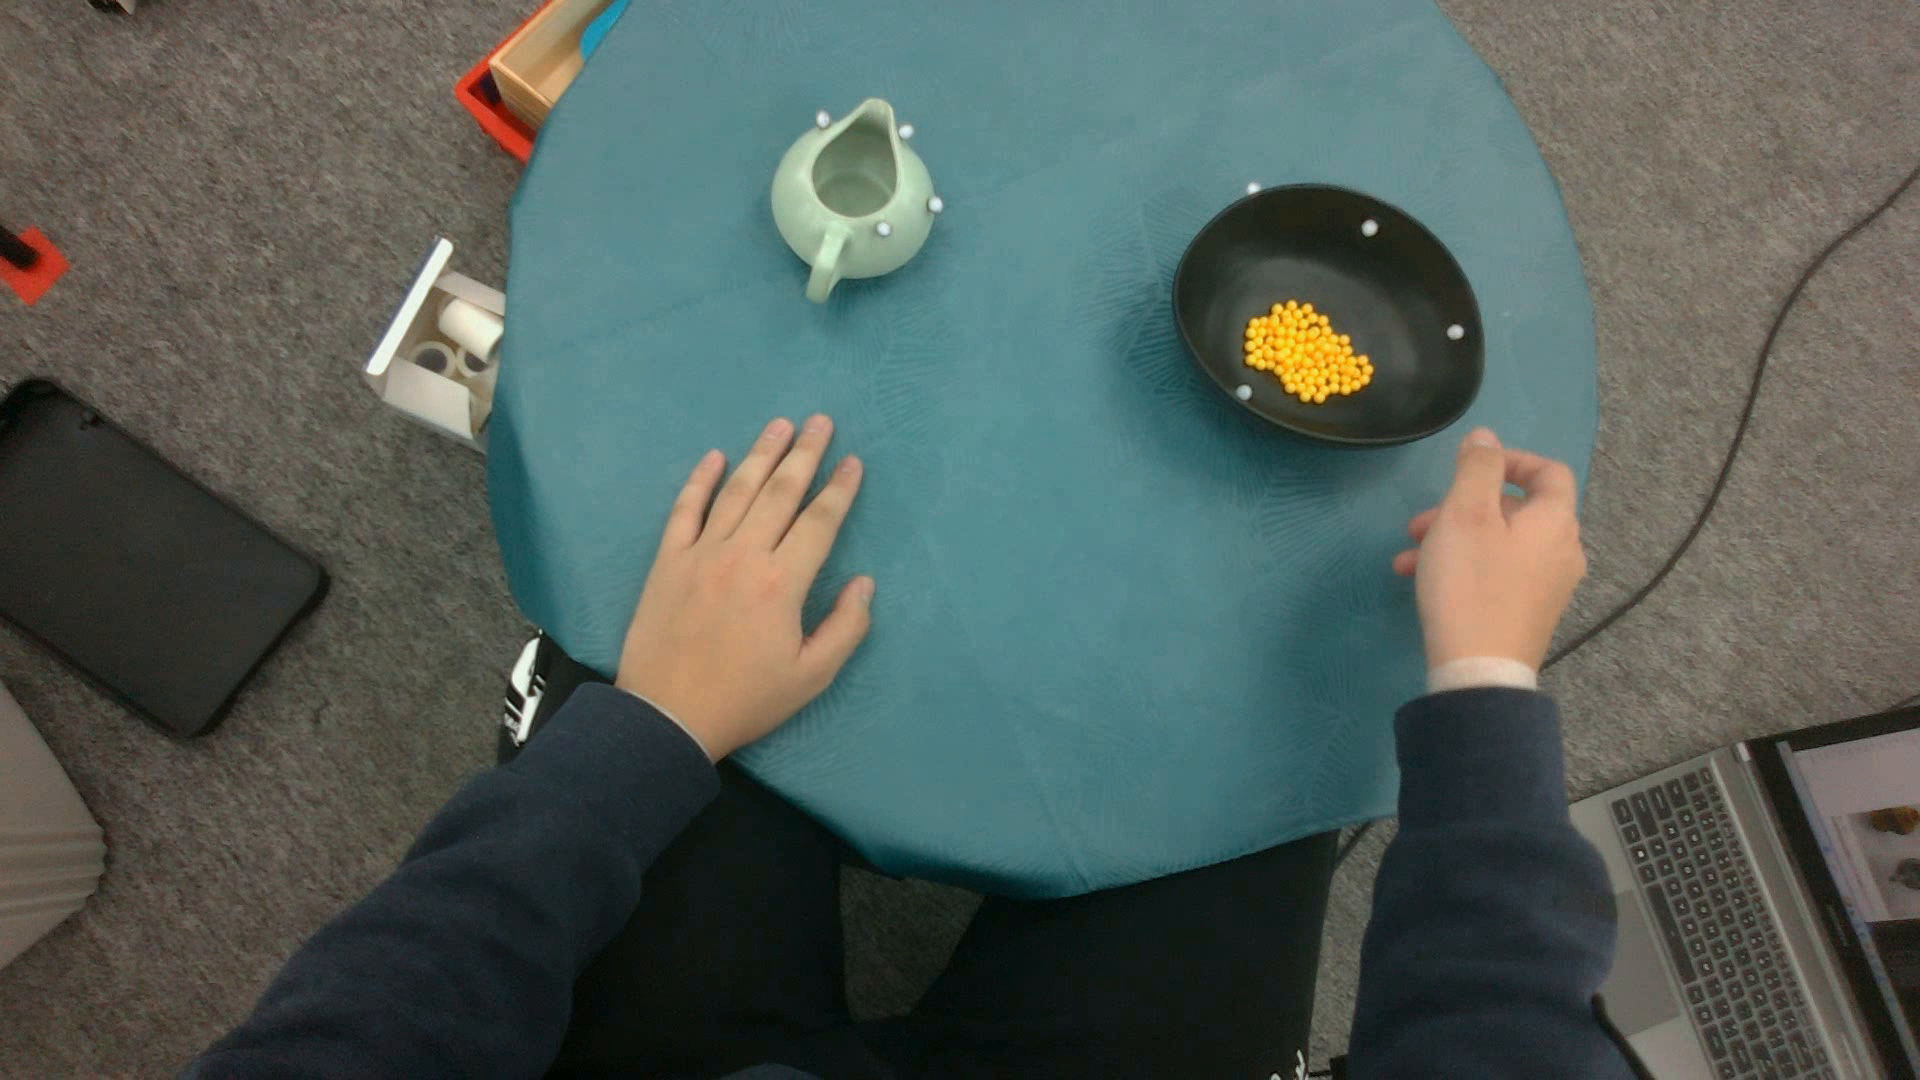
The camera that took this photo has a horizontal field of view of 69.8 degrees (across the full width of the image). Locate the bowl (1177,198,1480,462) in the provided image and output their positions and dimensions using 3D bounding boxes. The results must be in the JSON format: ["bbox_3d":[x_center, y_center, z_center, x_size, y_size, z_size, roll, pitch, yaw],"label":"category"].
[{"bbox_3d":[0.193,-0.105,0.740,0.170,0.066,0.137,18,77,-3],"label":"bowl"}]

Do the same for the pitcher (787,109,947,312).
[{"bbox_3d":[-0.052,-0.169,0.731,0.086,0.060,0.108,16,79,-2],"label":"pitcher"}]
